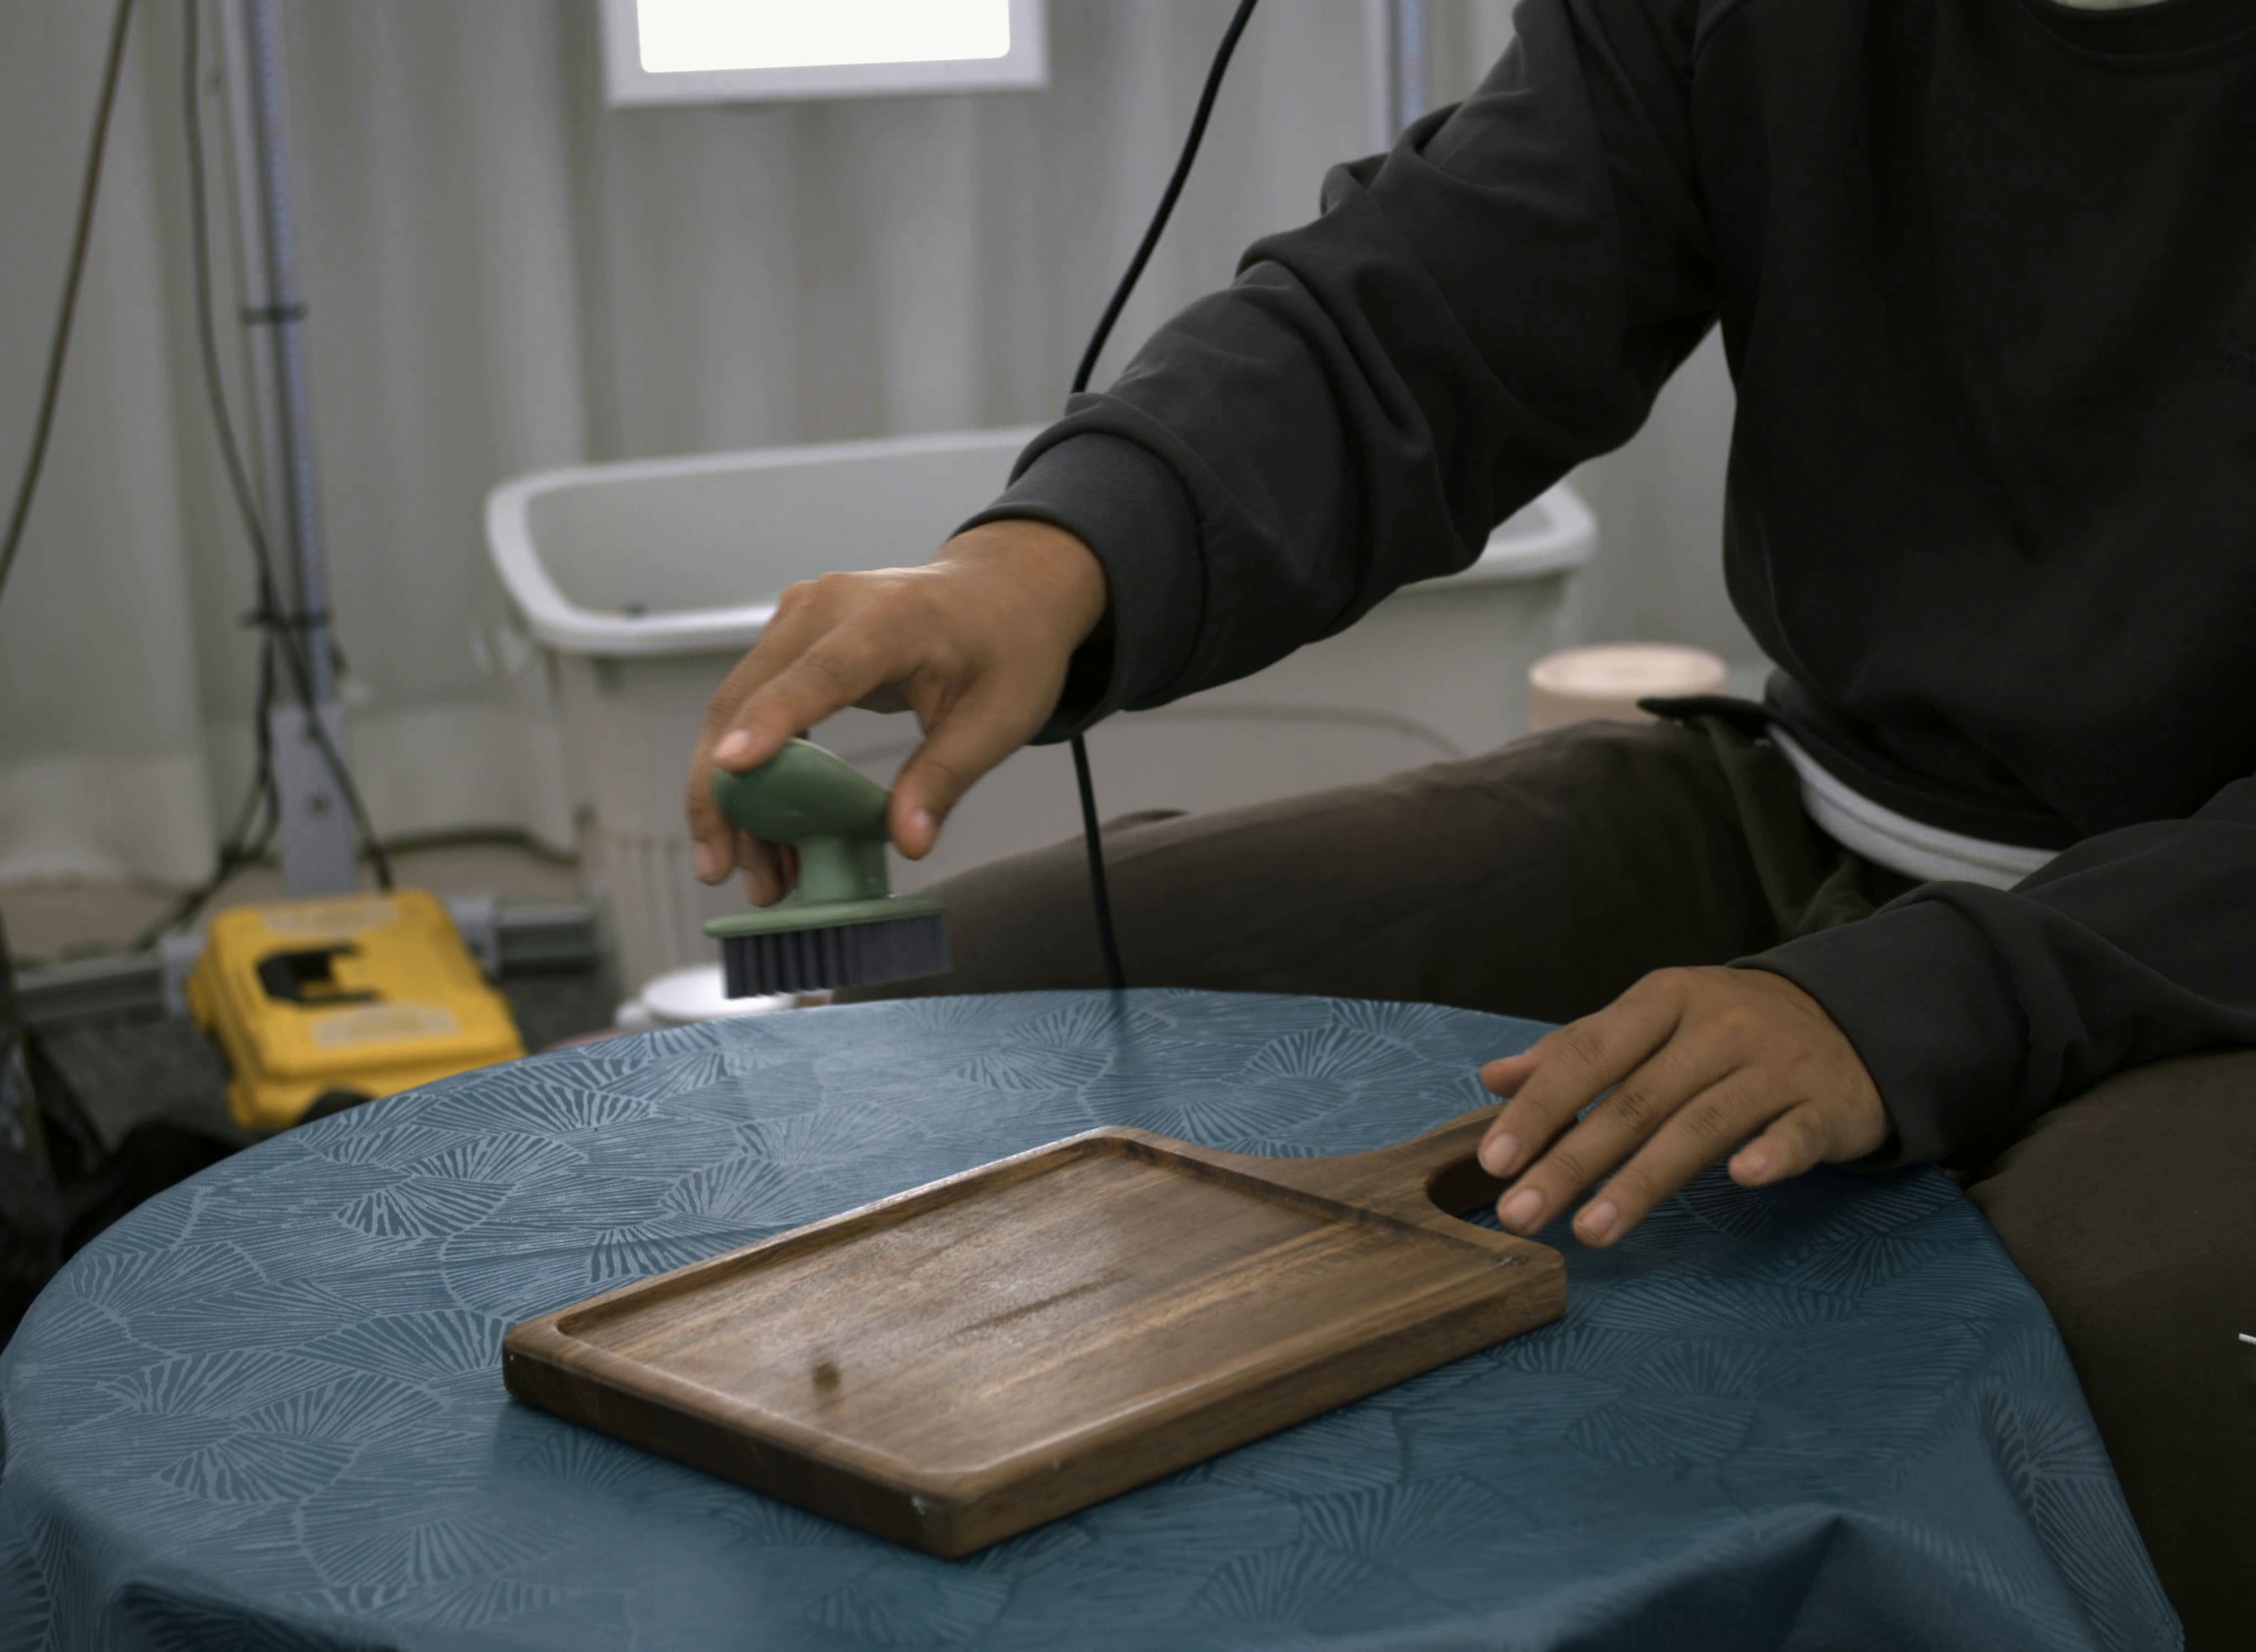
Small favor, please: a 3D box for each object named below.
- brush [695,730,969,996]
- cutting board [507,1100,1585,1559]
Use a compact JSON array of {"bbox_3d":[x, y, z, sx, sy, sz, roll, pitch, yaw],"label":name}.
[{"bbox_3d":[-0.089,0.021,1.640,0.059,0.076,0.122,-2,-14,20],"label":"brush"},{"bbox_3d":[0.012,0.133,1.606,0.351,0.023,0.202,-16,20,-41],"label":"cutting board"}]
